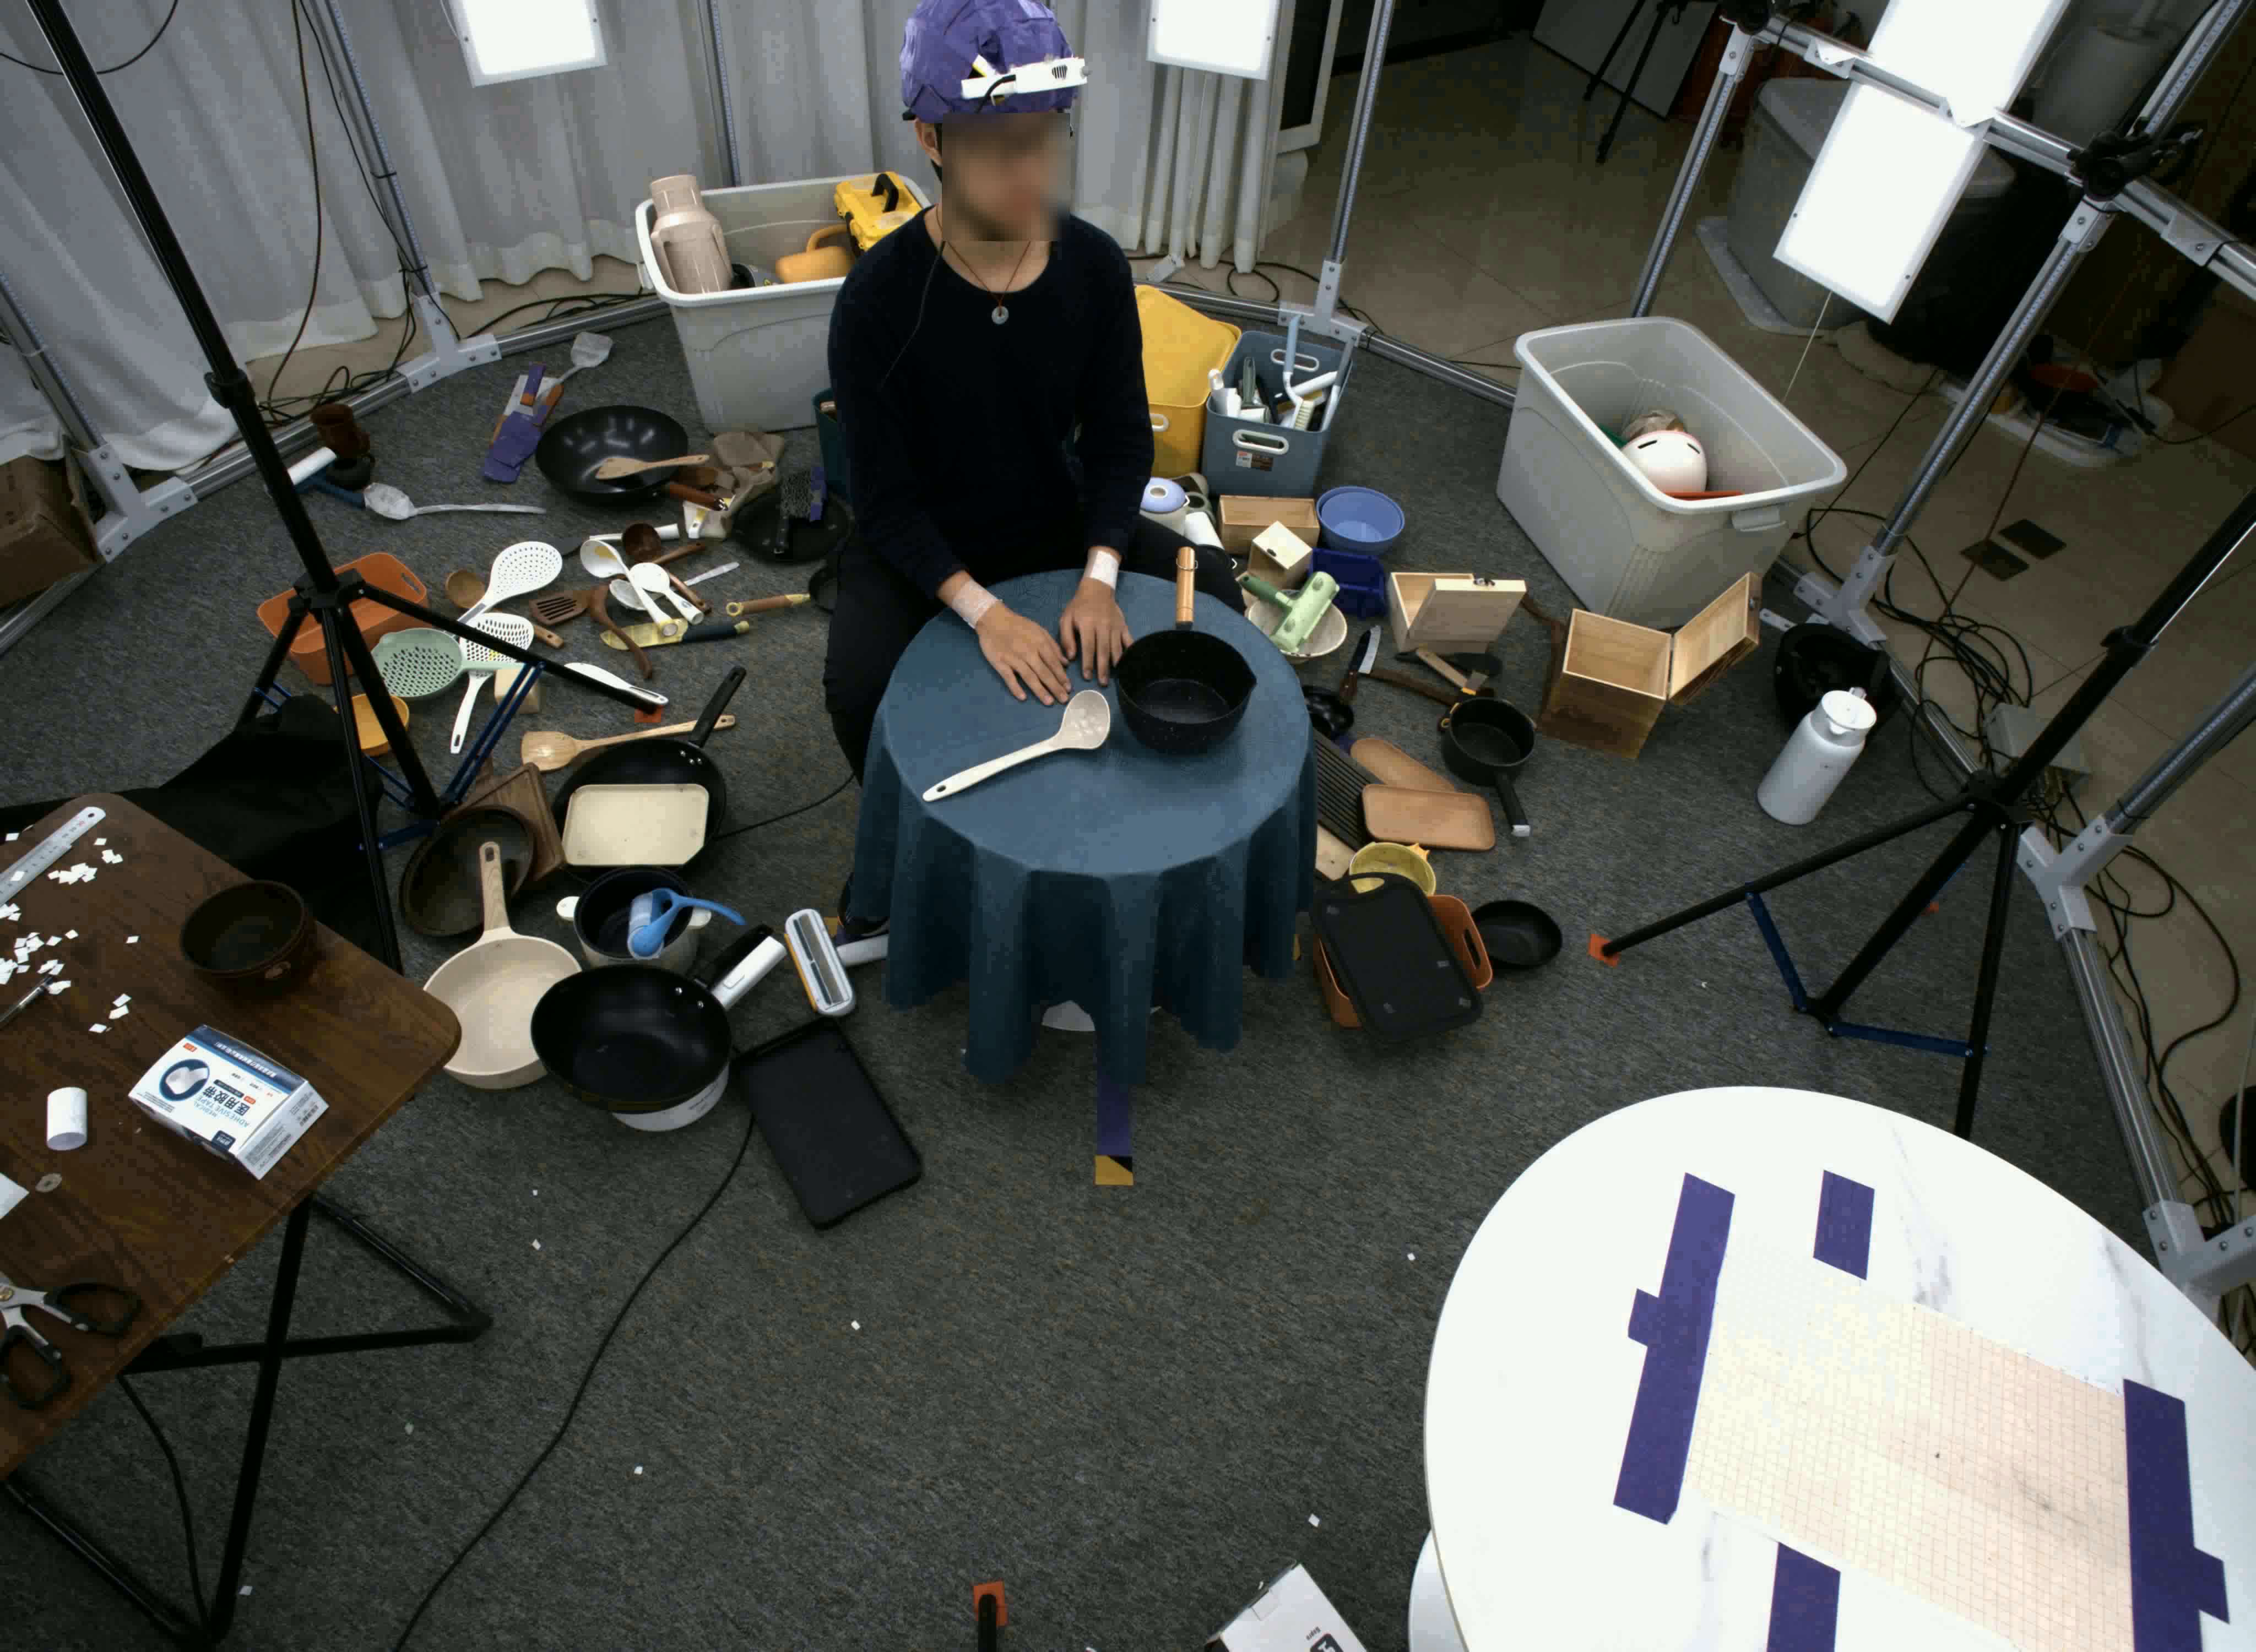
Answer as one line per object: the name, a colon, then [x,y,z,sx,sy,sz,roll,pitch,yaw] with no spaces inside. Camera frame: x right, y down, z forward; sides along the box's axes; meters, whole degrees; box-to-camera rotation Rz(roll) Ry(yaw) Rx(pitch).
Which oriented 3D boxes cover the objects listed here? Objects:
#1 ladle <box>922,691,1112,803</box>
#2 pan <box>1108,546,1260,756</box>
ladle: [-0.147,-0.103,1.704,0.276,0.068,0.091,-23,59,-22]
pan: [0.076,-0.249,1.820,0.207,0.105,0.351,2,50,-1]
